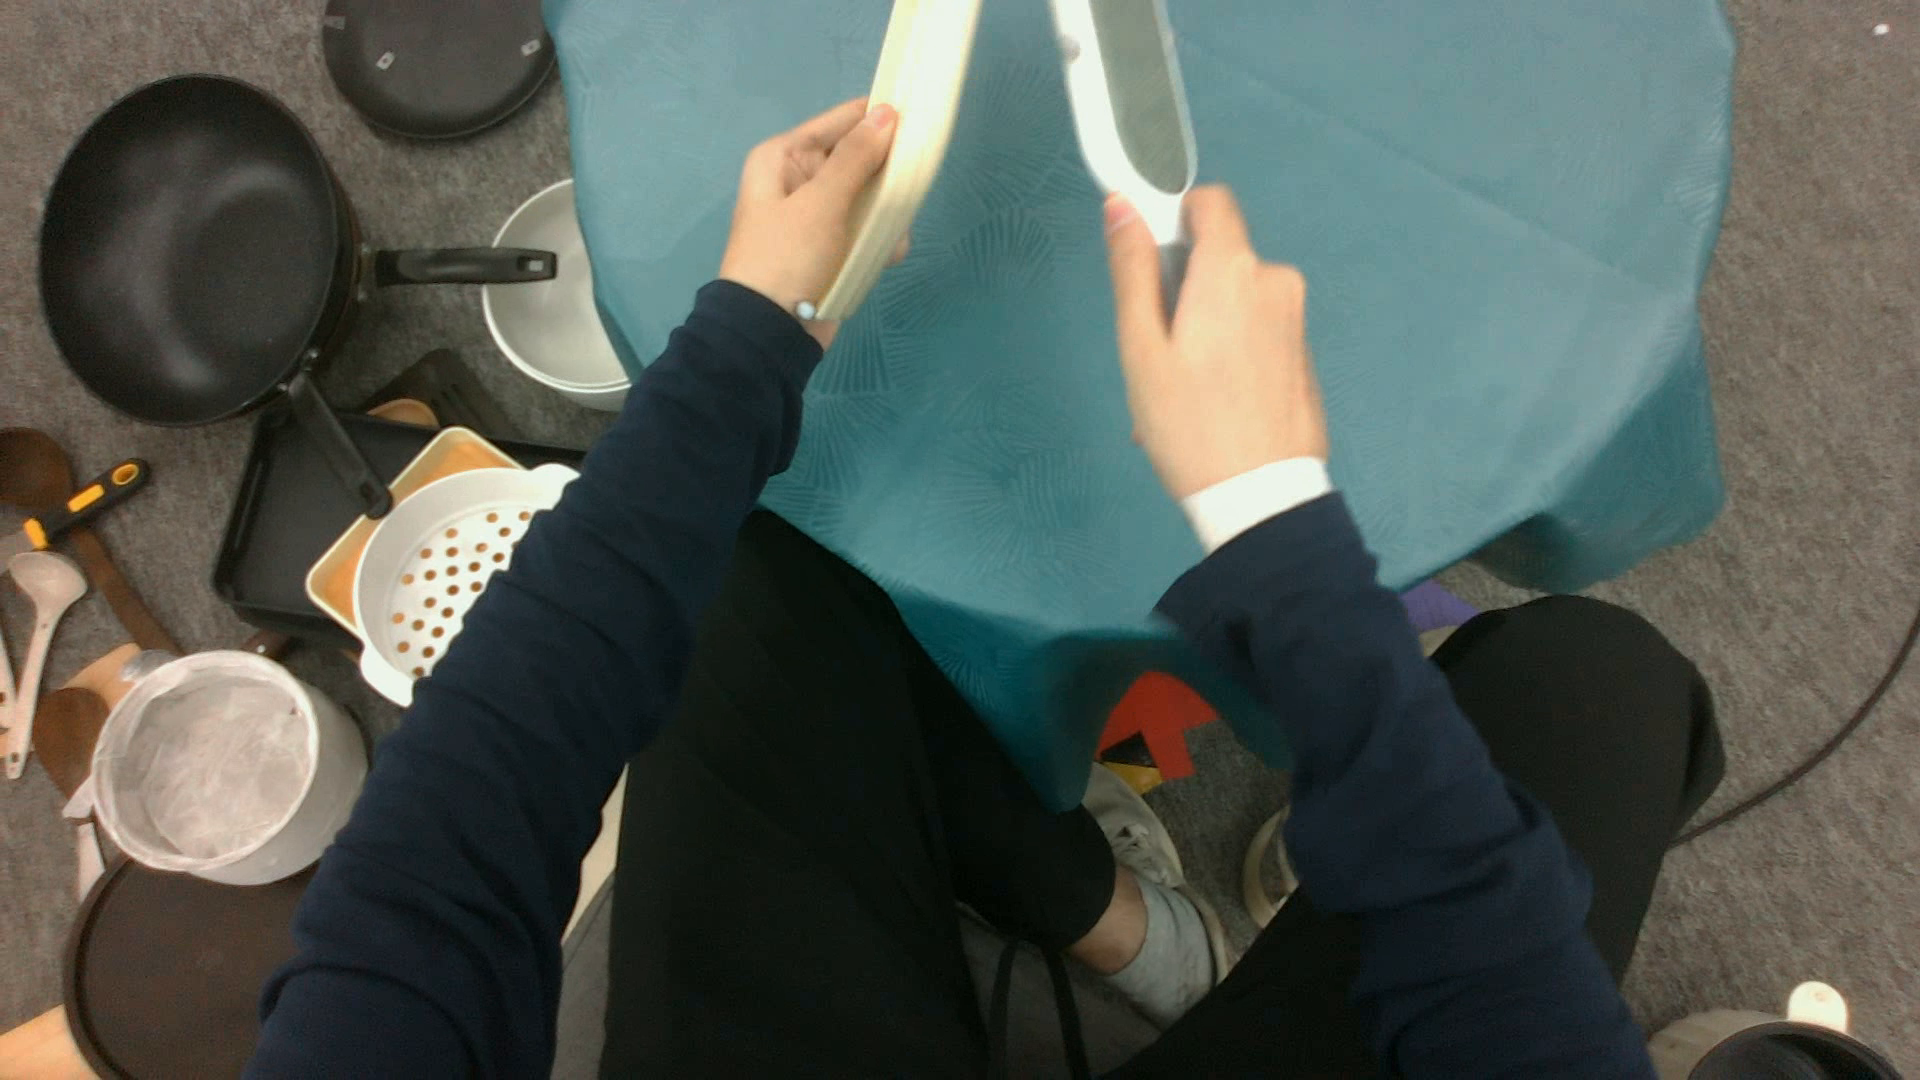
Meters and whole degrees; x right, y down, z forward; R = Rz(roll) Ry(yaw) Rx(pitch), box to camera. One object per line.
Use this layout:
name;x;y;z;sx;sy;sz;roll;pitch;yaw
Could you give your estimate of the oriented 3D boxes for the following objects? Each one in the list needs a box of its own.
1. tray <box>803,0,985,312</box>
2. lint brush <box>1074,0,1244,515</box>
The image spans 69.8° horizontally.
tray;-0.013;-0.217;0.553;0.017;0.170;0.240;17;73;-15
lint brush;0.071;-0.161;0.529;0.021;0.060;0.309;-13;84;39
